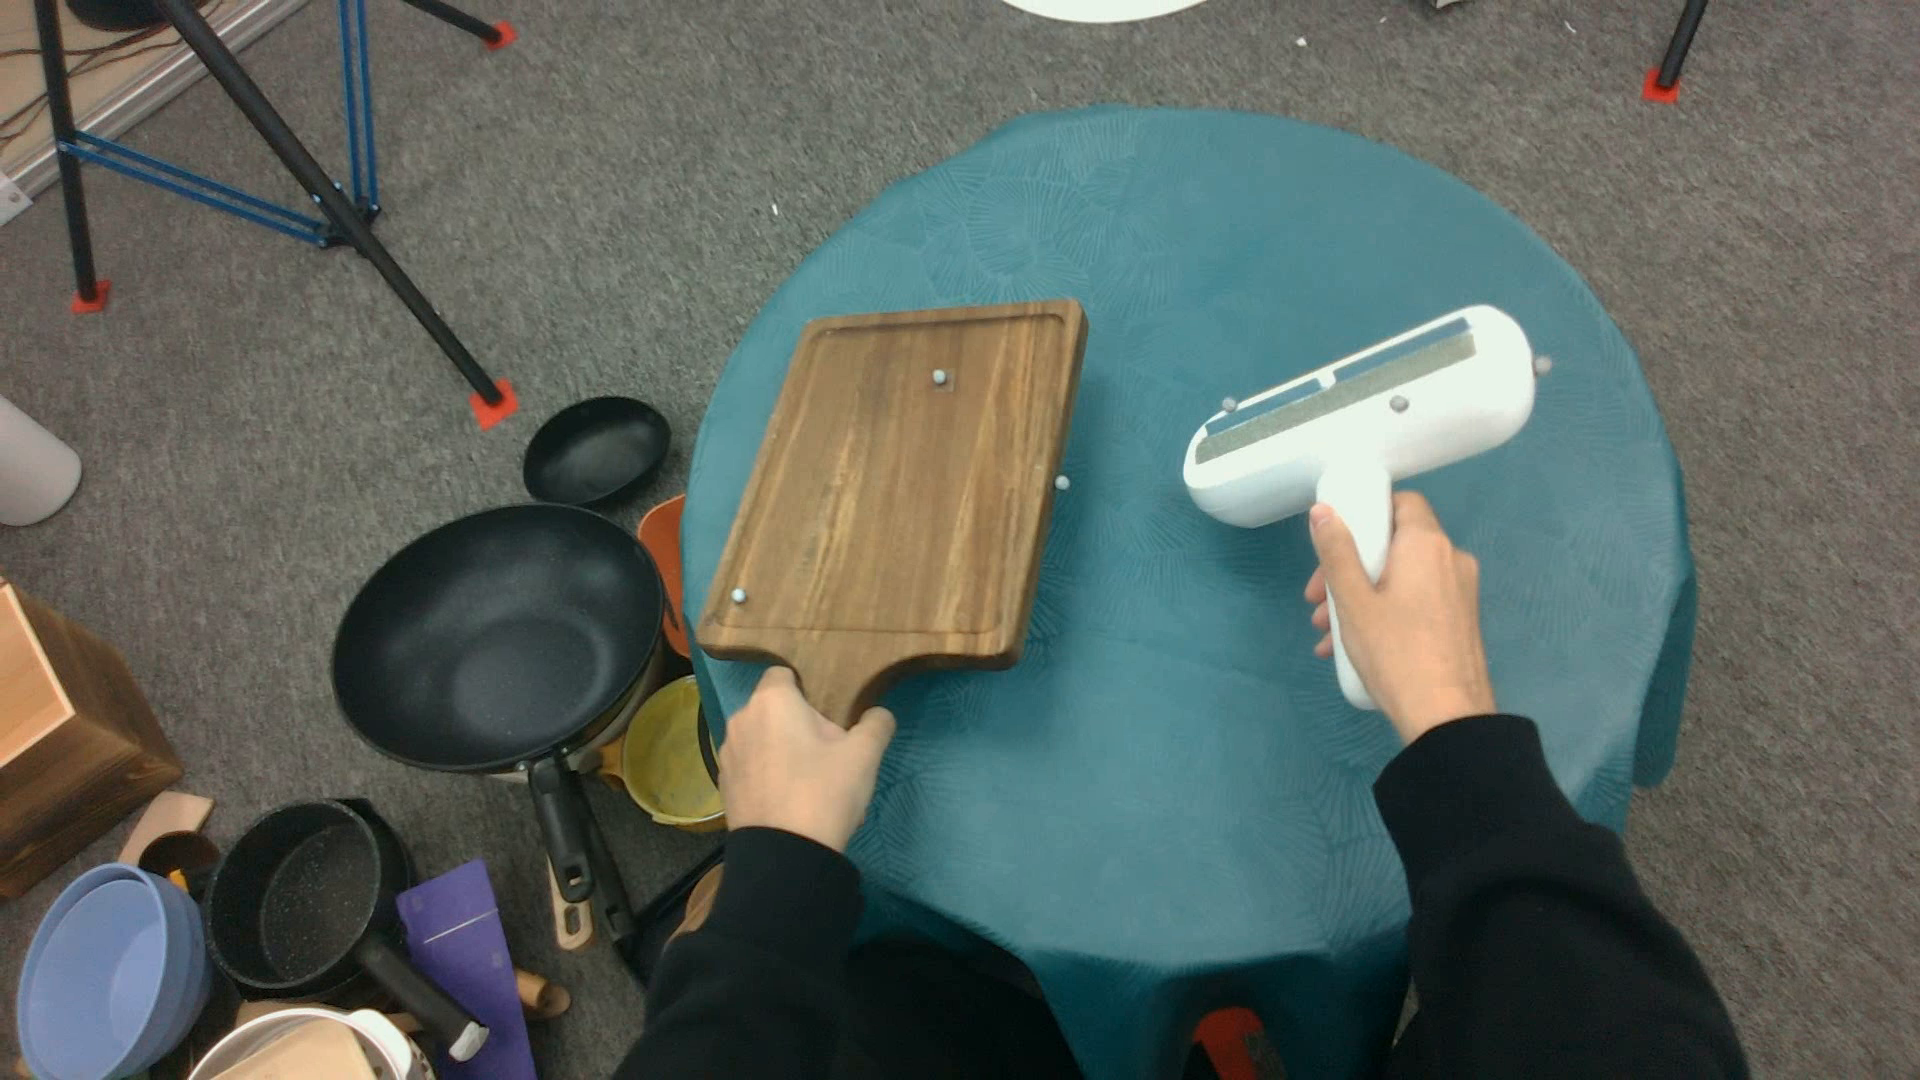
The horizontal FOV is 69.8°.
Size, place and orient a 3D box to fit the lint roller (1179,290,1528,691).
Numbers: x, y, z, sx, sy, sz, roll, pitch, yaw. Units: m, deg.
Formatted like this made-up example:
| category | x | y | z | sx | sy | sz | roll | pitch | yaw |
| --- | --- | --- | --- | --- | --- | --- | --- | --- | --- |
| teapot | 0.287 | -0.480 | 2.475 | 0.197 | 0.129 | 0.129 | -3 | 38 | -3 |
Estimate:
| category | x | y | z | sx | sy | sz | roll | pitch | yaw |
| --- | --- | --- | --- | --- | --- | --- | --- | --- | --- |
| lint roller | 0.197 | -0.019 | 0.706 | 0.192 | 0.074 | 0.193 | -14 | 52 | 39 |

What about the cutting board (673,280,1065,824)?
| category | x | y | z | sx | sy | sz | roll | pitch | yaw |
| --- | --- | --- | --- | --- | --- | --- | --- | --- | --- |
| cutting board | -0.058 | -0.007 | 0.790 | 0.200 | 0.023 | 0.354 | -1 | 57 | 21 |
